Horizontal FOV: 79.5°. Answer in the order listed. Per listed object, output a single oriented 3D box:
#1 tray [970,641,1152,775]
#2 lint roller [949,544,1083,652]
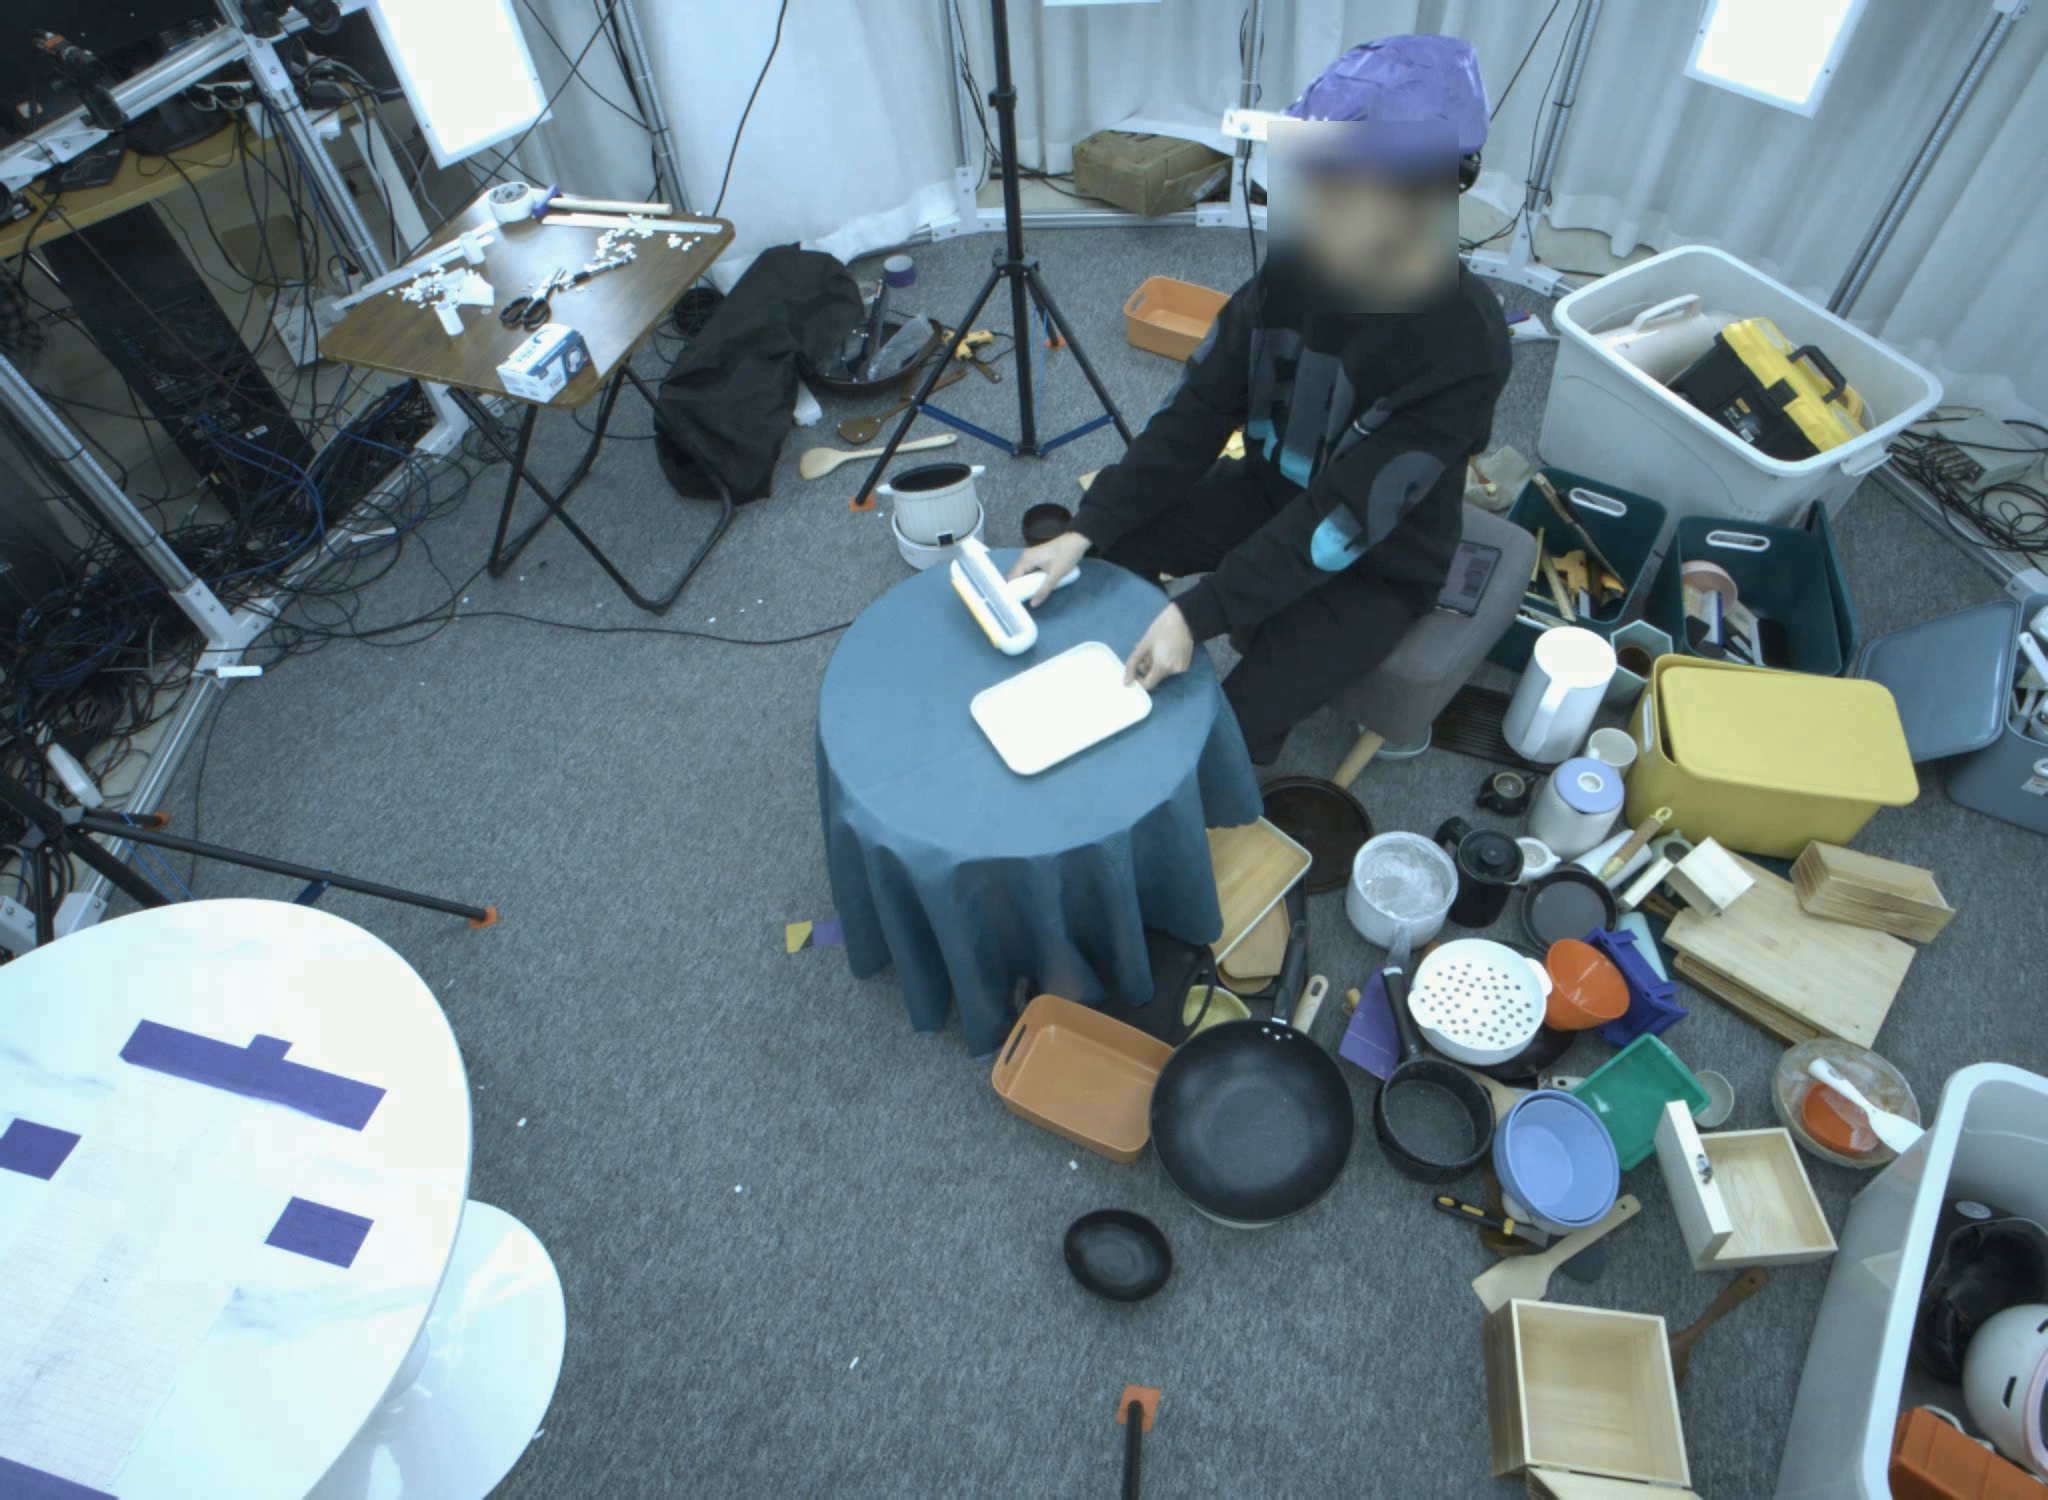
[{"bbox_3d":[0.055,-0.063,1.815,0.241,0.017,0.168,-26,57,-16],"label":"tray"},{"bbox_3d":[0.002,-0.256,1.915,0.193,0.075,0.190,-26,64,-9],"label":"lint roller"}]
